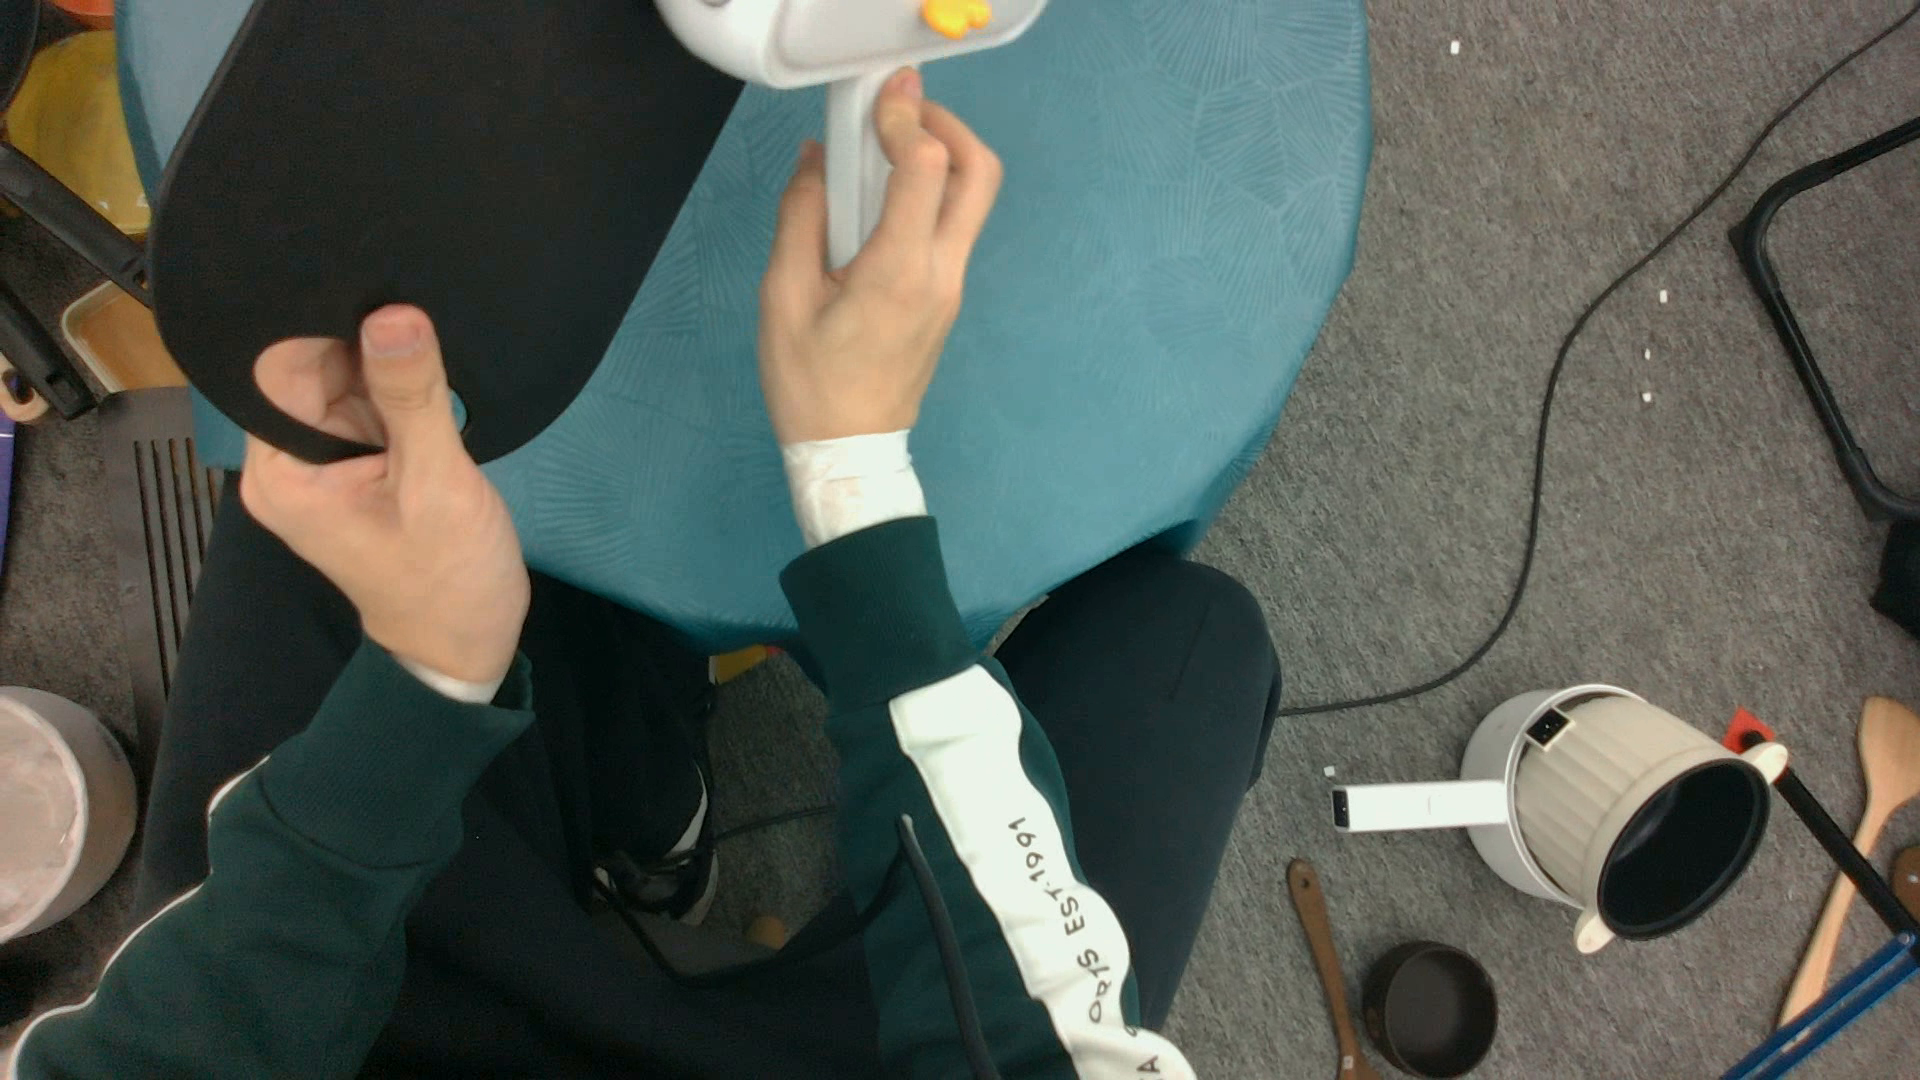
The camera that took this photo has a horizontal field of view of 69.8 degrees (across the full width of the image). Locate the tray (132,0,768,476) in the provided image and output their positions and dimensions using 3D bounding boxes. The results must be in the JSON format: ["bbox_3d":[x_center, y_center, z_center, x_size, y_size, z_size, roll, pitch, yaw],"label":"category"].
[{"bbox_3d":[-0.124,-0.168,0.429,0.010,0.211,0.325,28,90,14],"label":"tray"}]

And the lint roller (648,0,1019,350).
[{"bbox_3d":[-0.040,-0.162,0.525,0.074,0.191,0.194,32,42,11],"label":"lint roller"}]
